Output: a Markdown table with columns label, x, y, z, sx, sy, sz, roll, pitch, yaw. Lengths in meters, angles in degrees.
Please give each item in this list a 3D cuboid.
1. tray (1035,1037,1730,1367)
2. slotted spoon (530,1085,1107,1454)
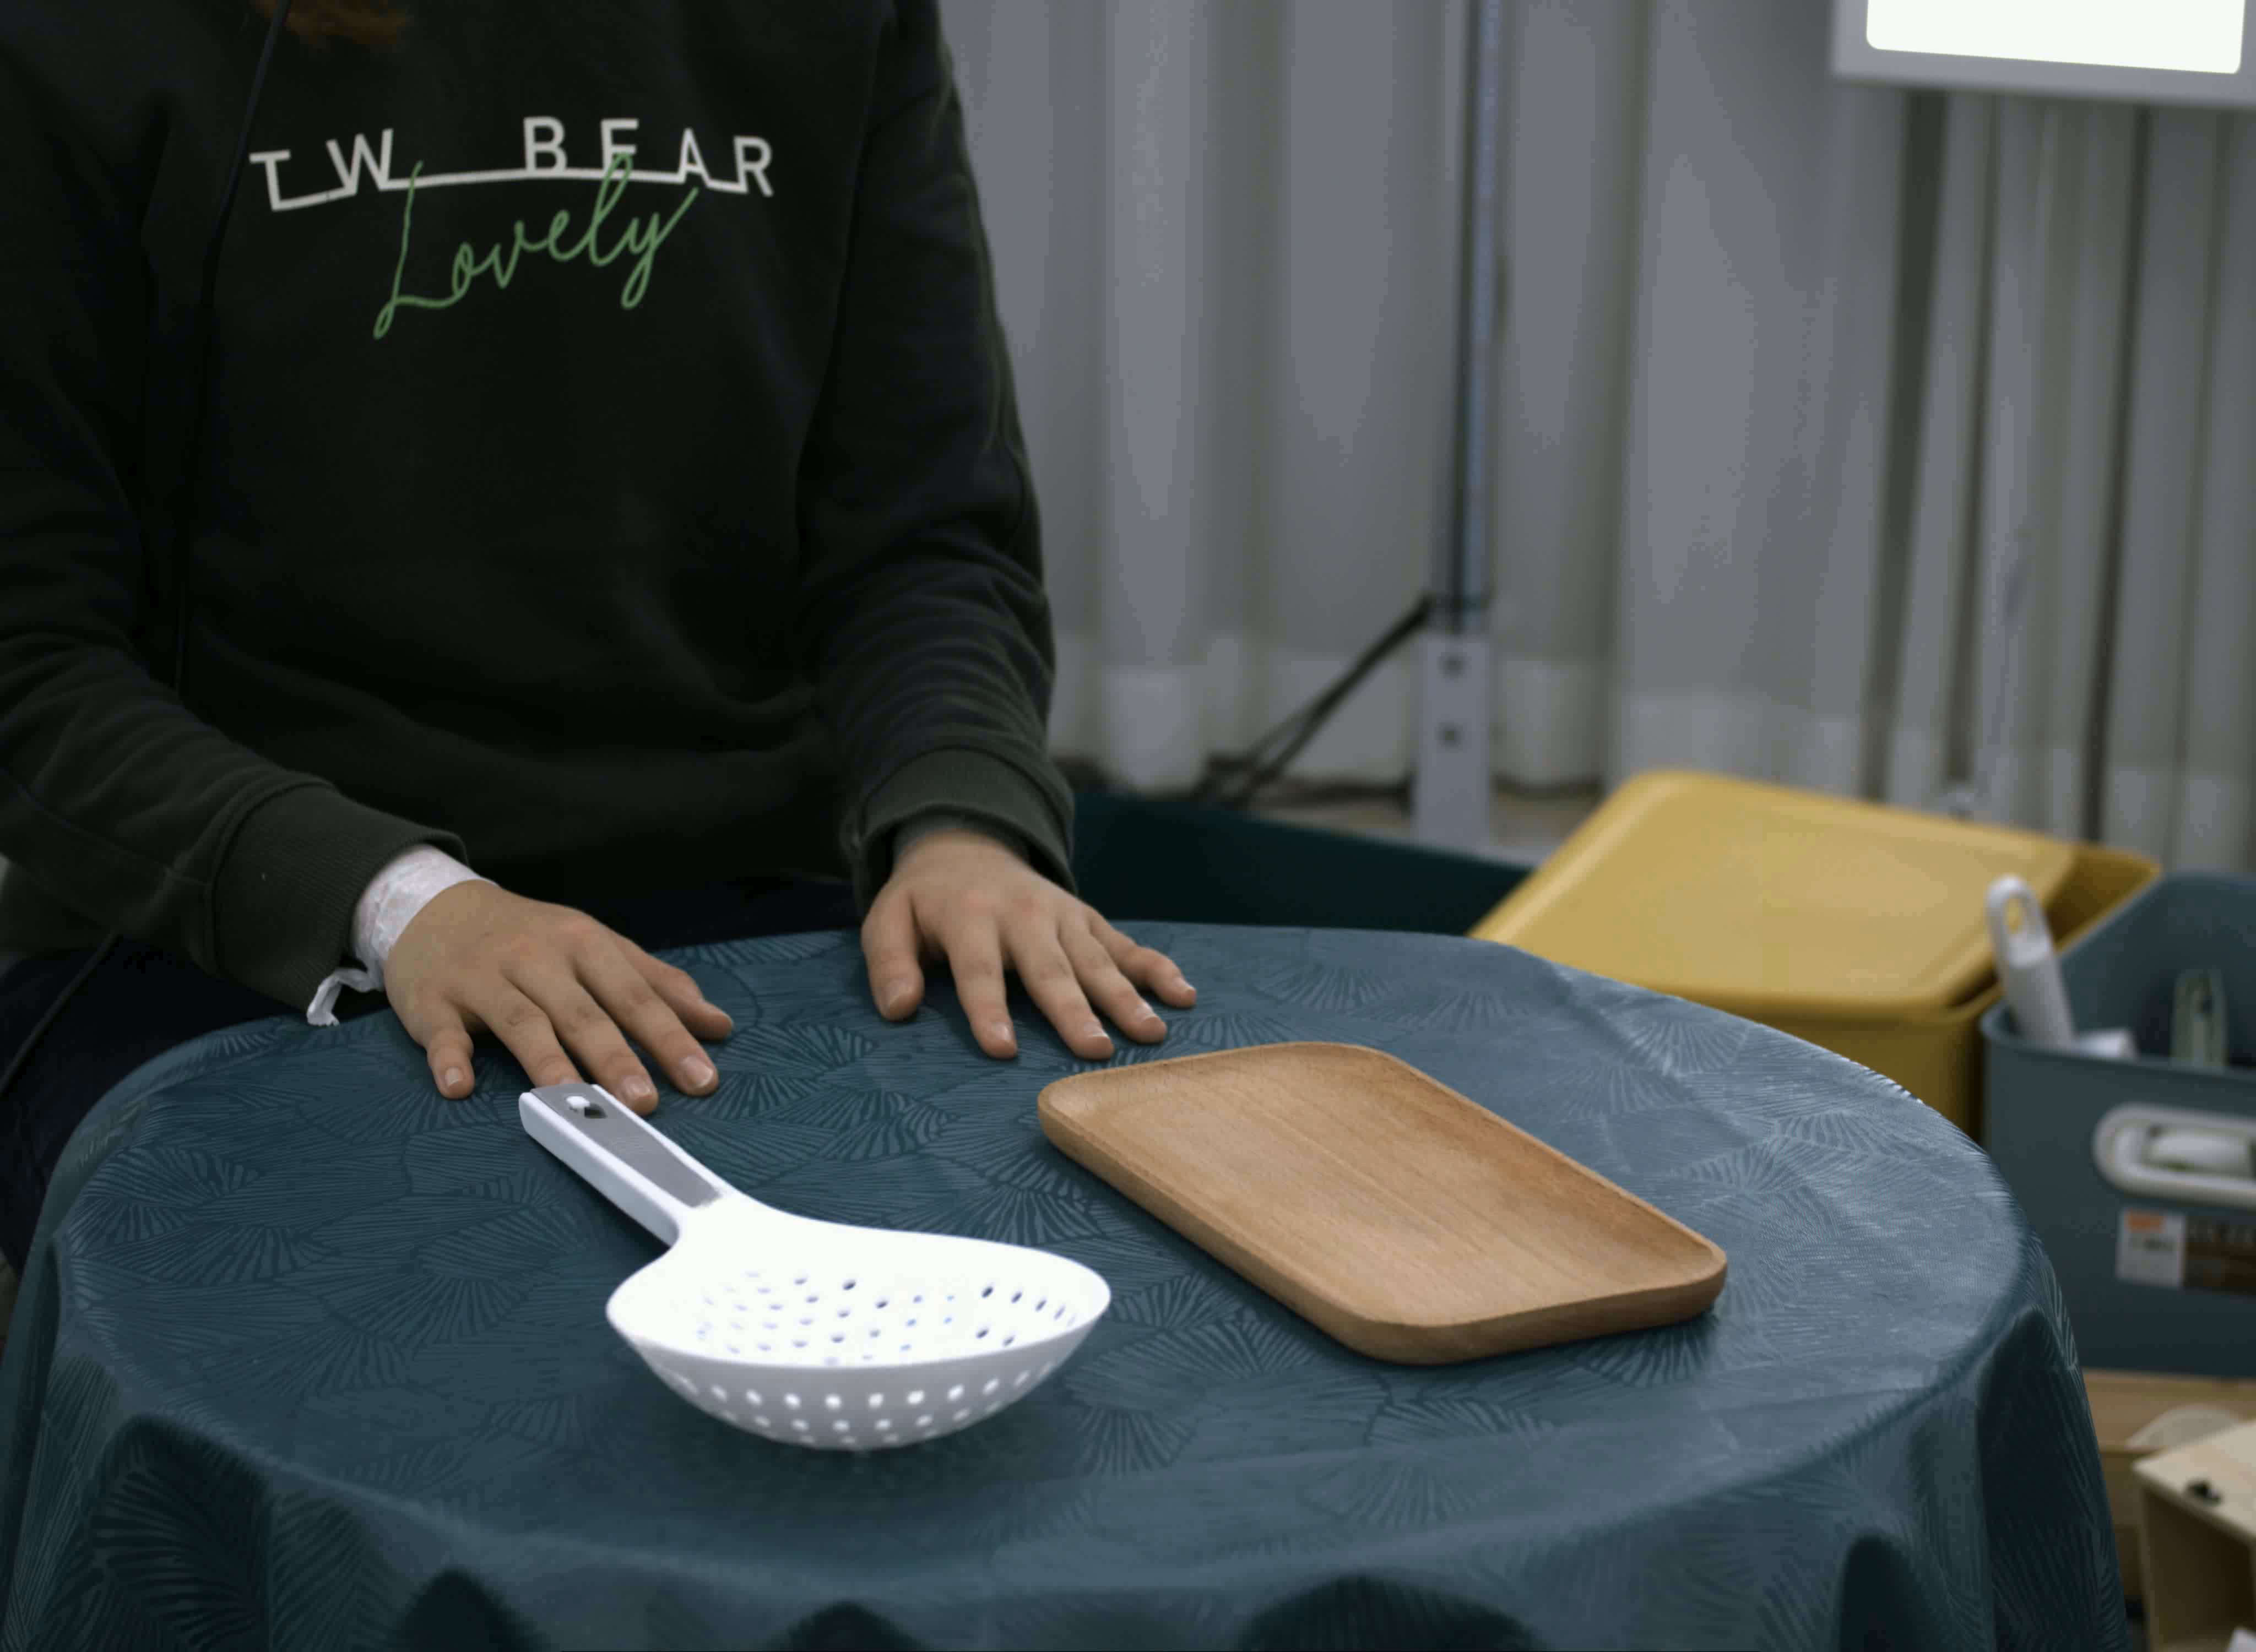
| label | x | y | z | sx | sy | sz | roll | pitch | yaw |
| --- | --- | --- | --- | --- | --- | --- | --- | --- | --- |
| tray | 0.073 | 0.111 | 1.603 | 0.131 | 0.023 | 0.247 | -5 | 16 | -26 |
| slotted spoon | -0.114 | 0.118 | 1.519 | 0.136 | 0.046 | 0.346 | -3 | 15 | -22 |
